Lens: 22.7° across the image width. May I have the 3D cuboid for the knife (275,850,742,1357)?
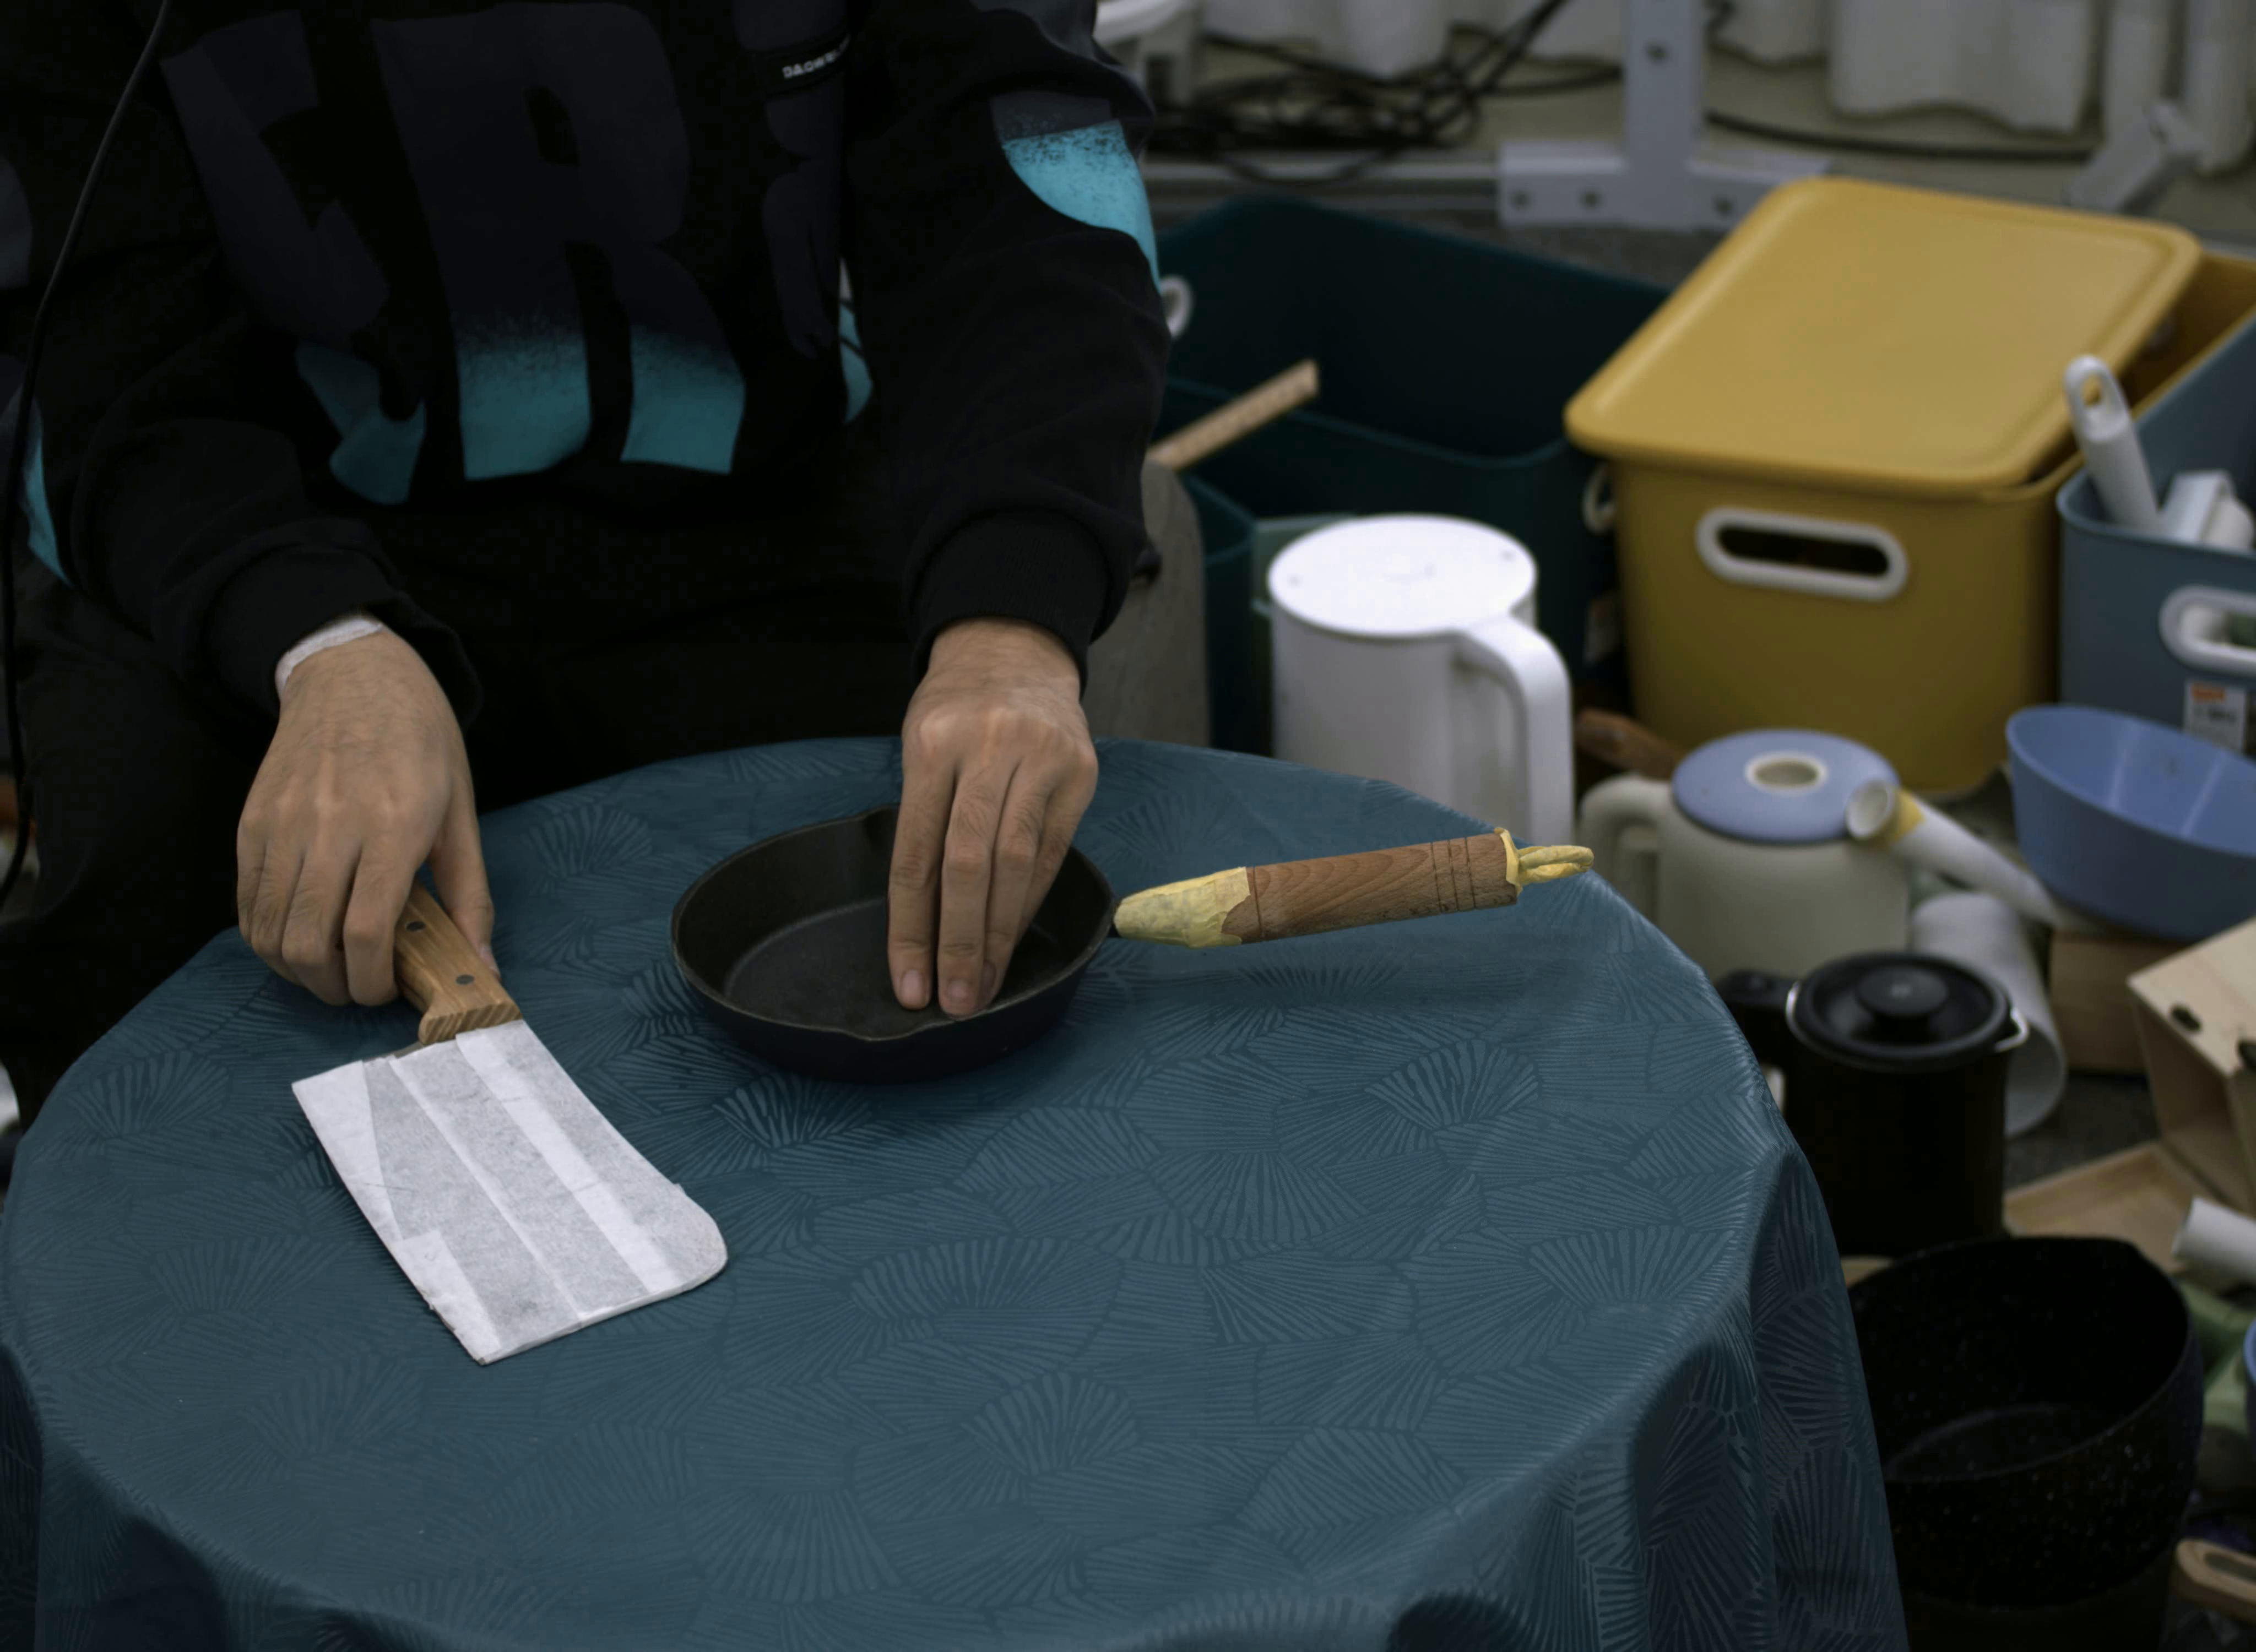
[{"bbox_3d":[-0.228,0.090,1.926,0.114,0.021,0.318,-14,32,-19],"label":"knife"}]

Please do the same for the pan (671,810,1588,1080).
[{"bbox_3d":[0.001,0.035,1.975,0.322,0.049,0.171,-3,26,1],"label":"pan"}]
